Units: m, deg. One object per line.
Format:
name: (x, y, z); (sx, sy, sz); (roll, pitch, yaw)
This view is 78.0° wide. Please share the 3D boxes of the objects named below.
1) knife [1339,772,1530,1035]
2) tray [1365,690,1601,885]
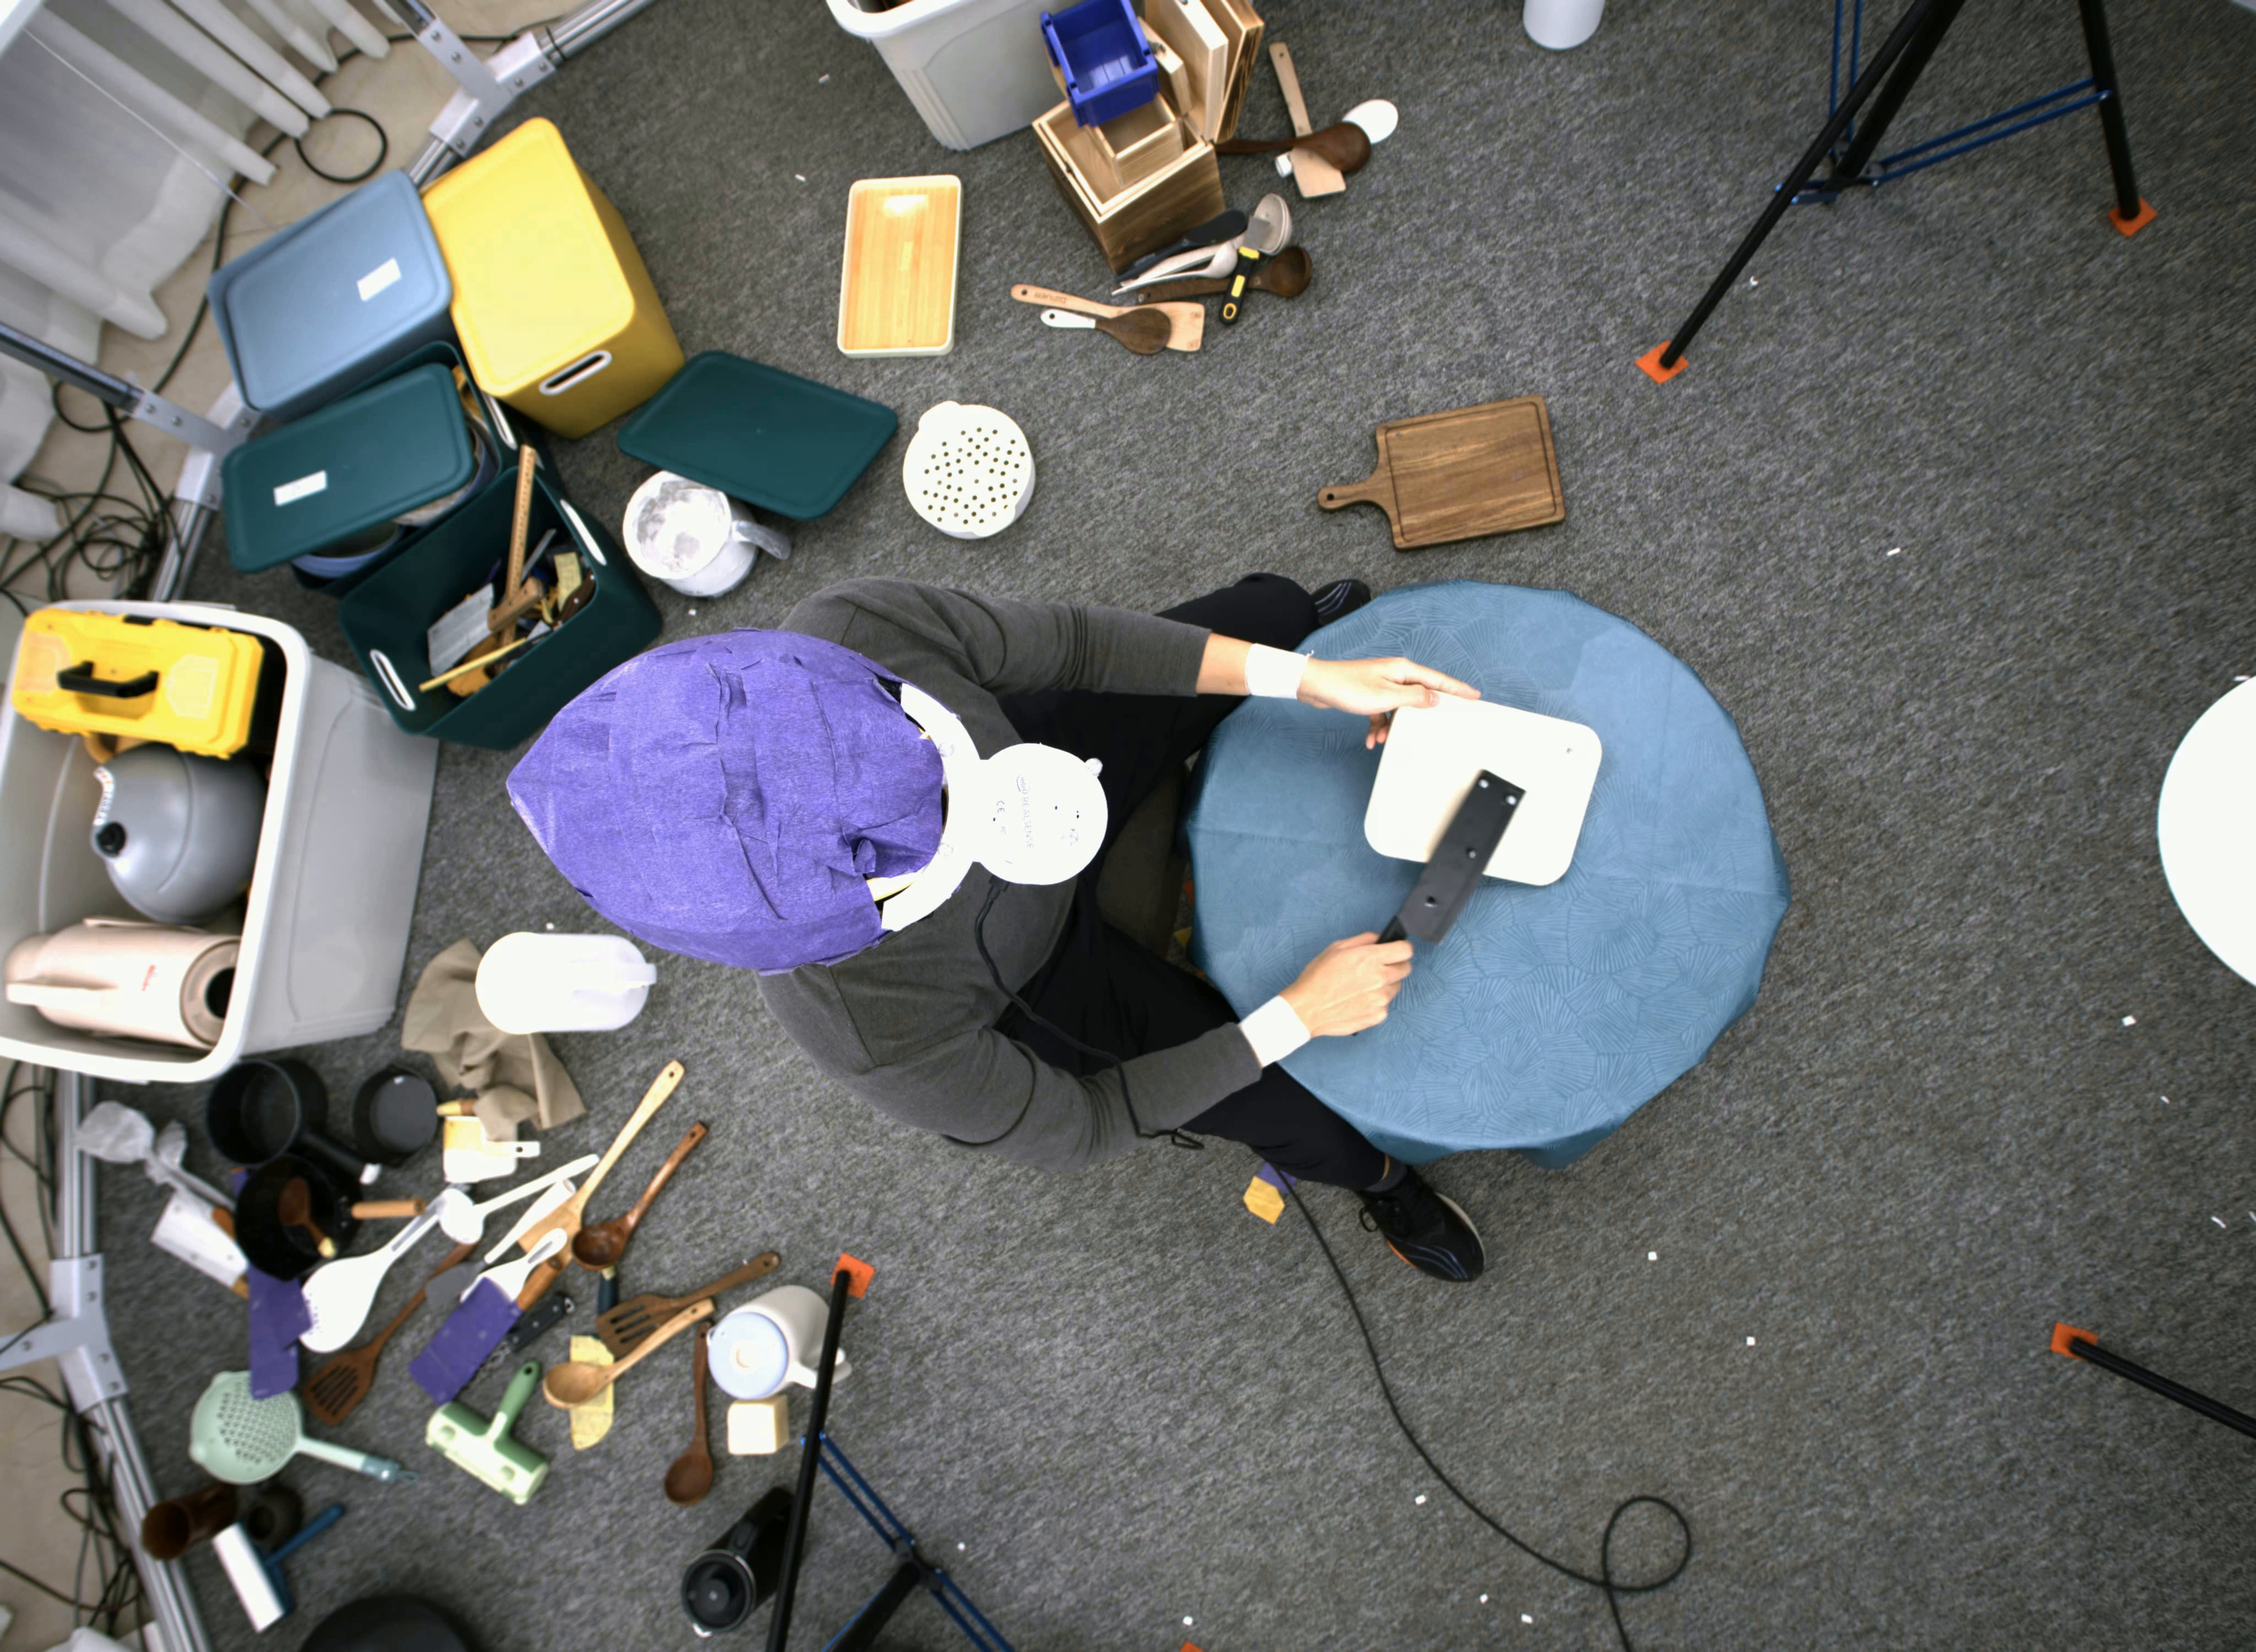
knife: (0.304, 0.082, 1.385); (0.081, 0.020, 0.305); (26, 104, -25)
tray: (0.356, -0.039, 1.378); (0.239, 0.017, 0.173); (10, 102, -17)
